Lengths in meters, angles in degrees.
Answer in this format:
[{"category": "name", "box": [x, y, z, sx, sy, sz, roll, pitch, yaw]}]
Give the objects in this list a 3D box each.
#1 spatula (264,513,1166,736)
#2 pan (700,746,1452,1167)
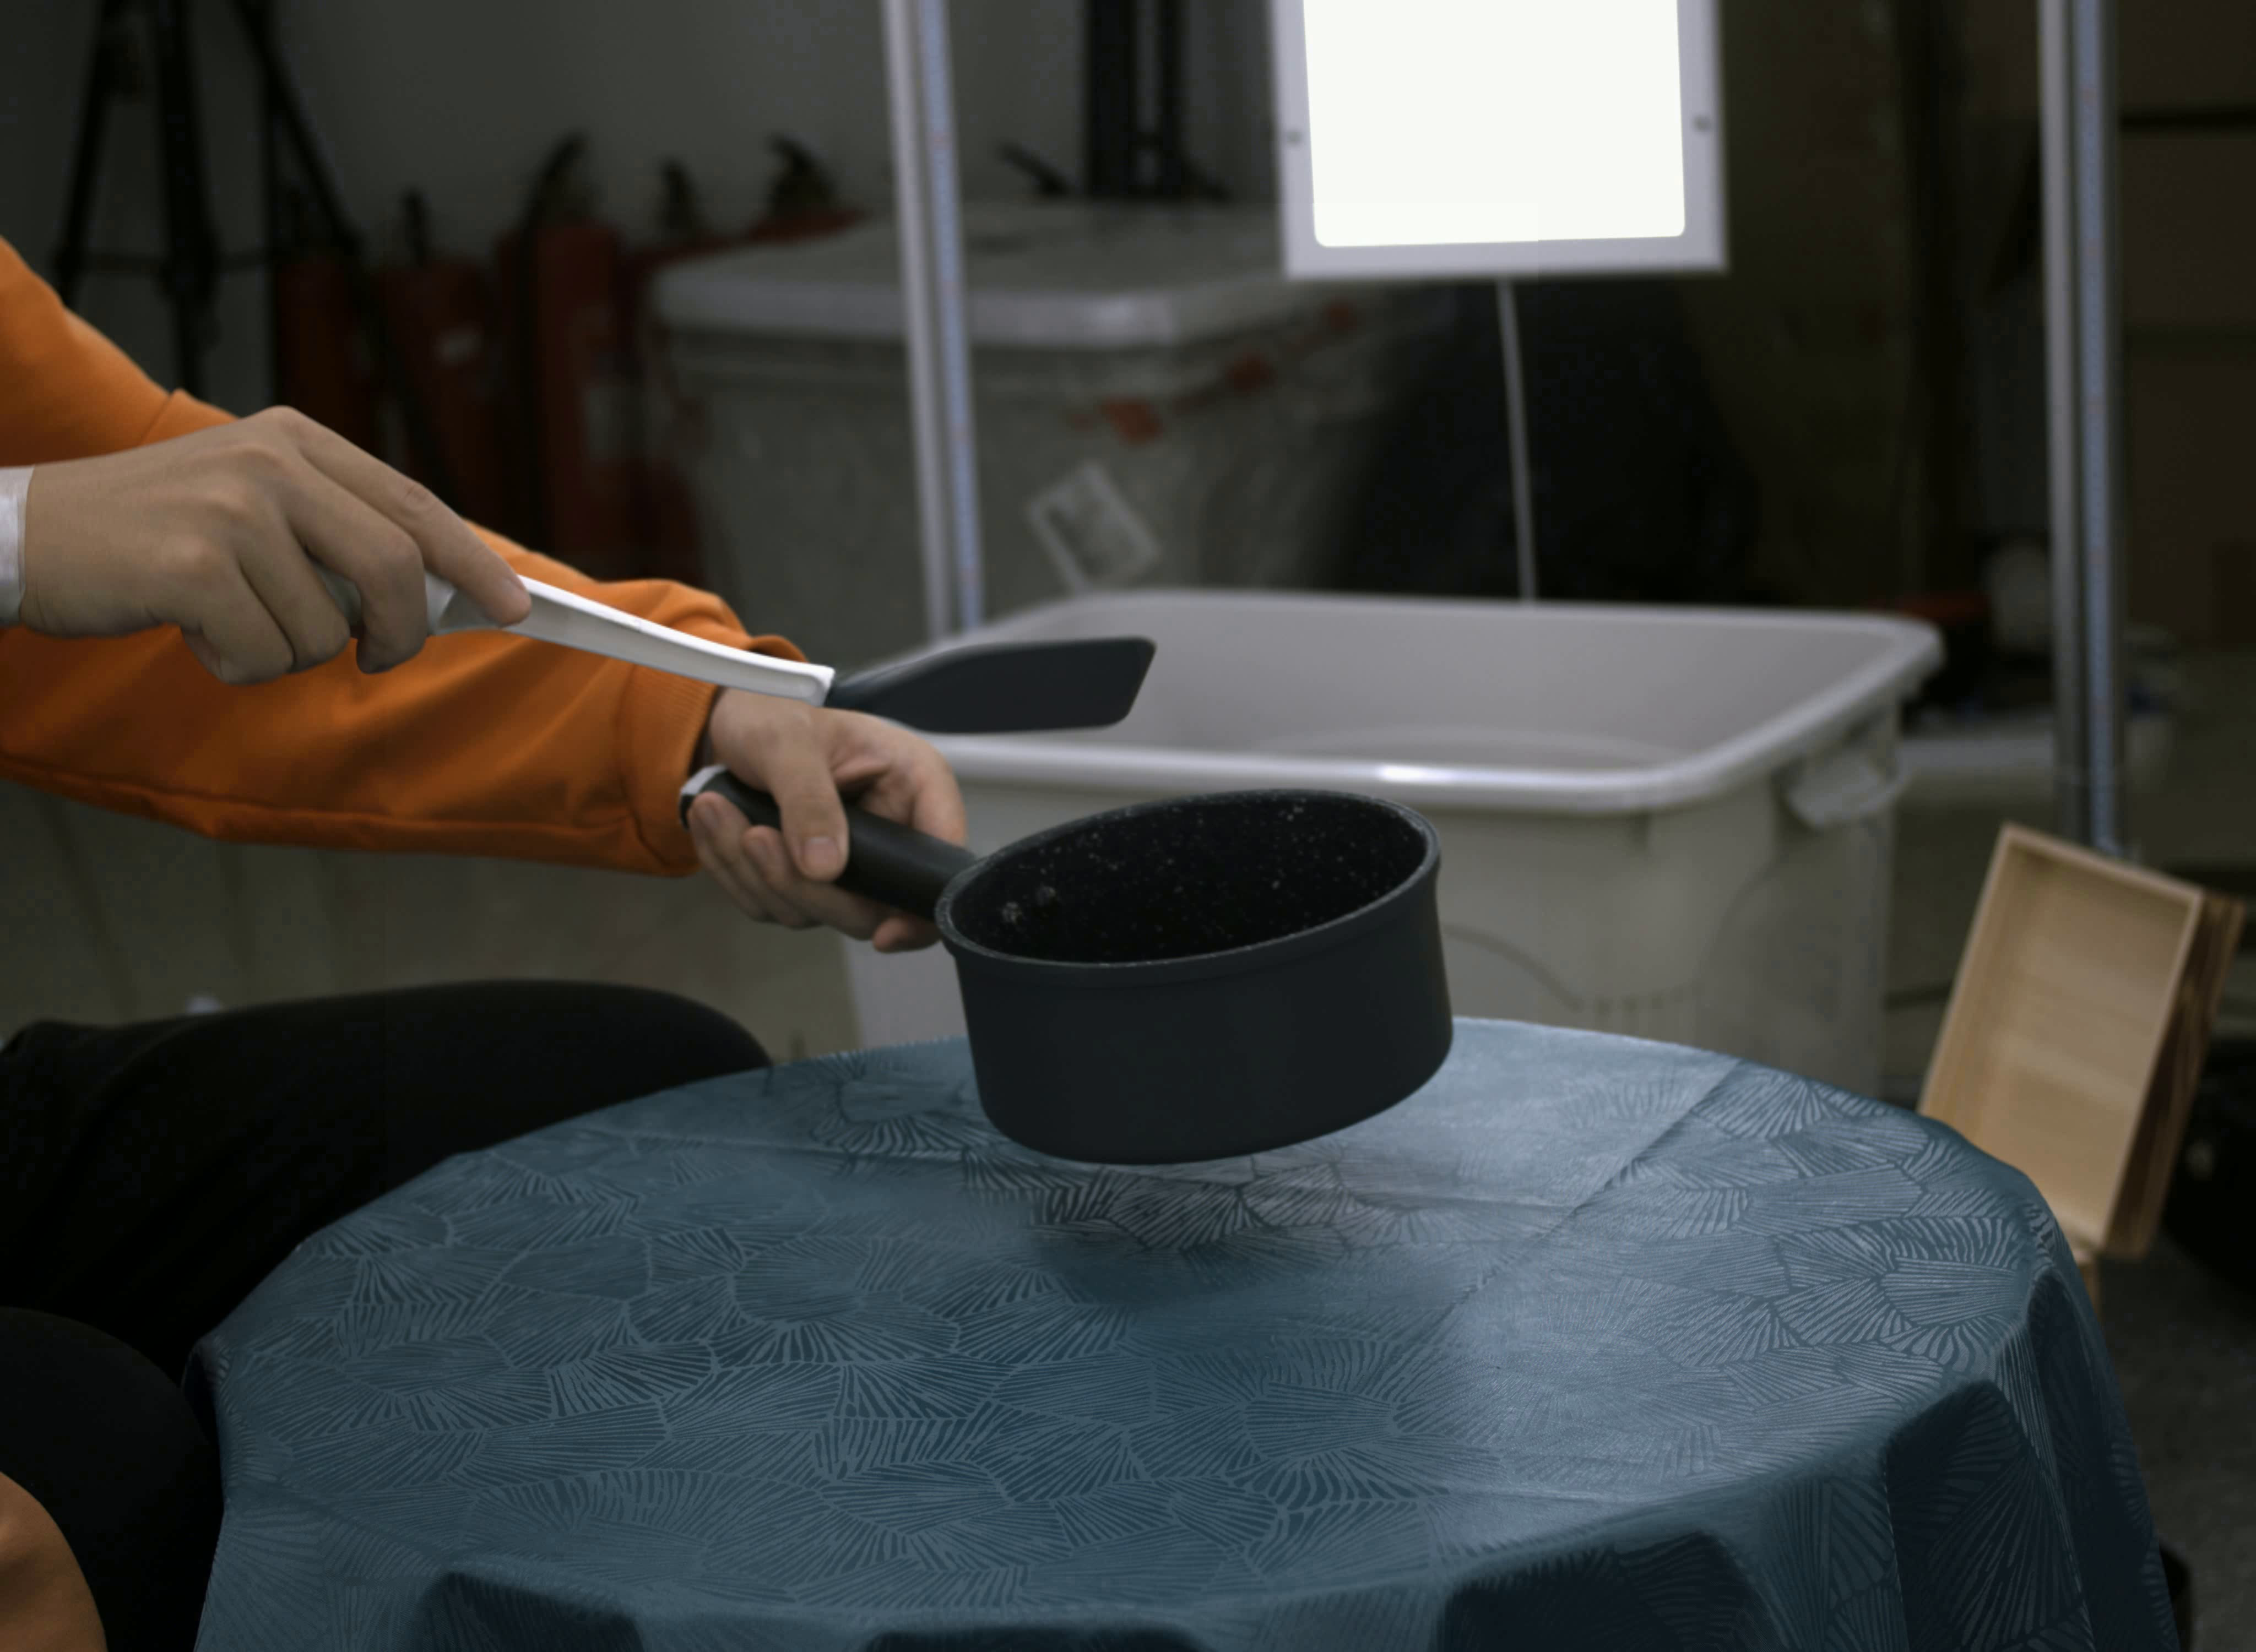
[{"category": "spatula", "box": [-0.130, -0.060, 1.754, 0.284, 0.059, 0.032, 9, 51, -10]}, {"category": "pan", "box": [-0.031, 0.037, 1.912, 0.168, 0.087, 0.336, -23, 23, -38]}]
